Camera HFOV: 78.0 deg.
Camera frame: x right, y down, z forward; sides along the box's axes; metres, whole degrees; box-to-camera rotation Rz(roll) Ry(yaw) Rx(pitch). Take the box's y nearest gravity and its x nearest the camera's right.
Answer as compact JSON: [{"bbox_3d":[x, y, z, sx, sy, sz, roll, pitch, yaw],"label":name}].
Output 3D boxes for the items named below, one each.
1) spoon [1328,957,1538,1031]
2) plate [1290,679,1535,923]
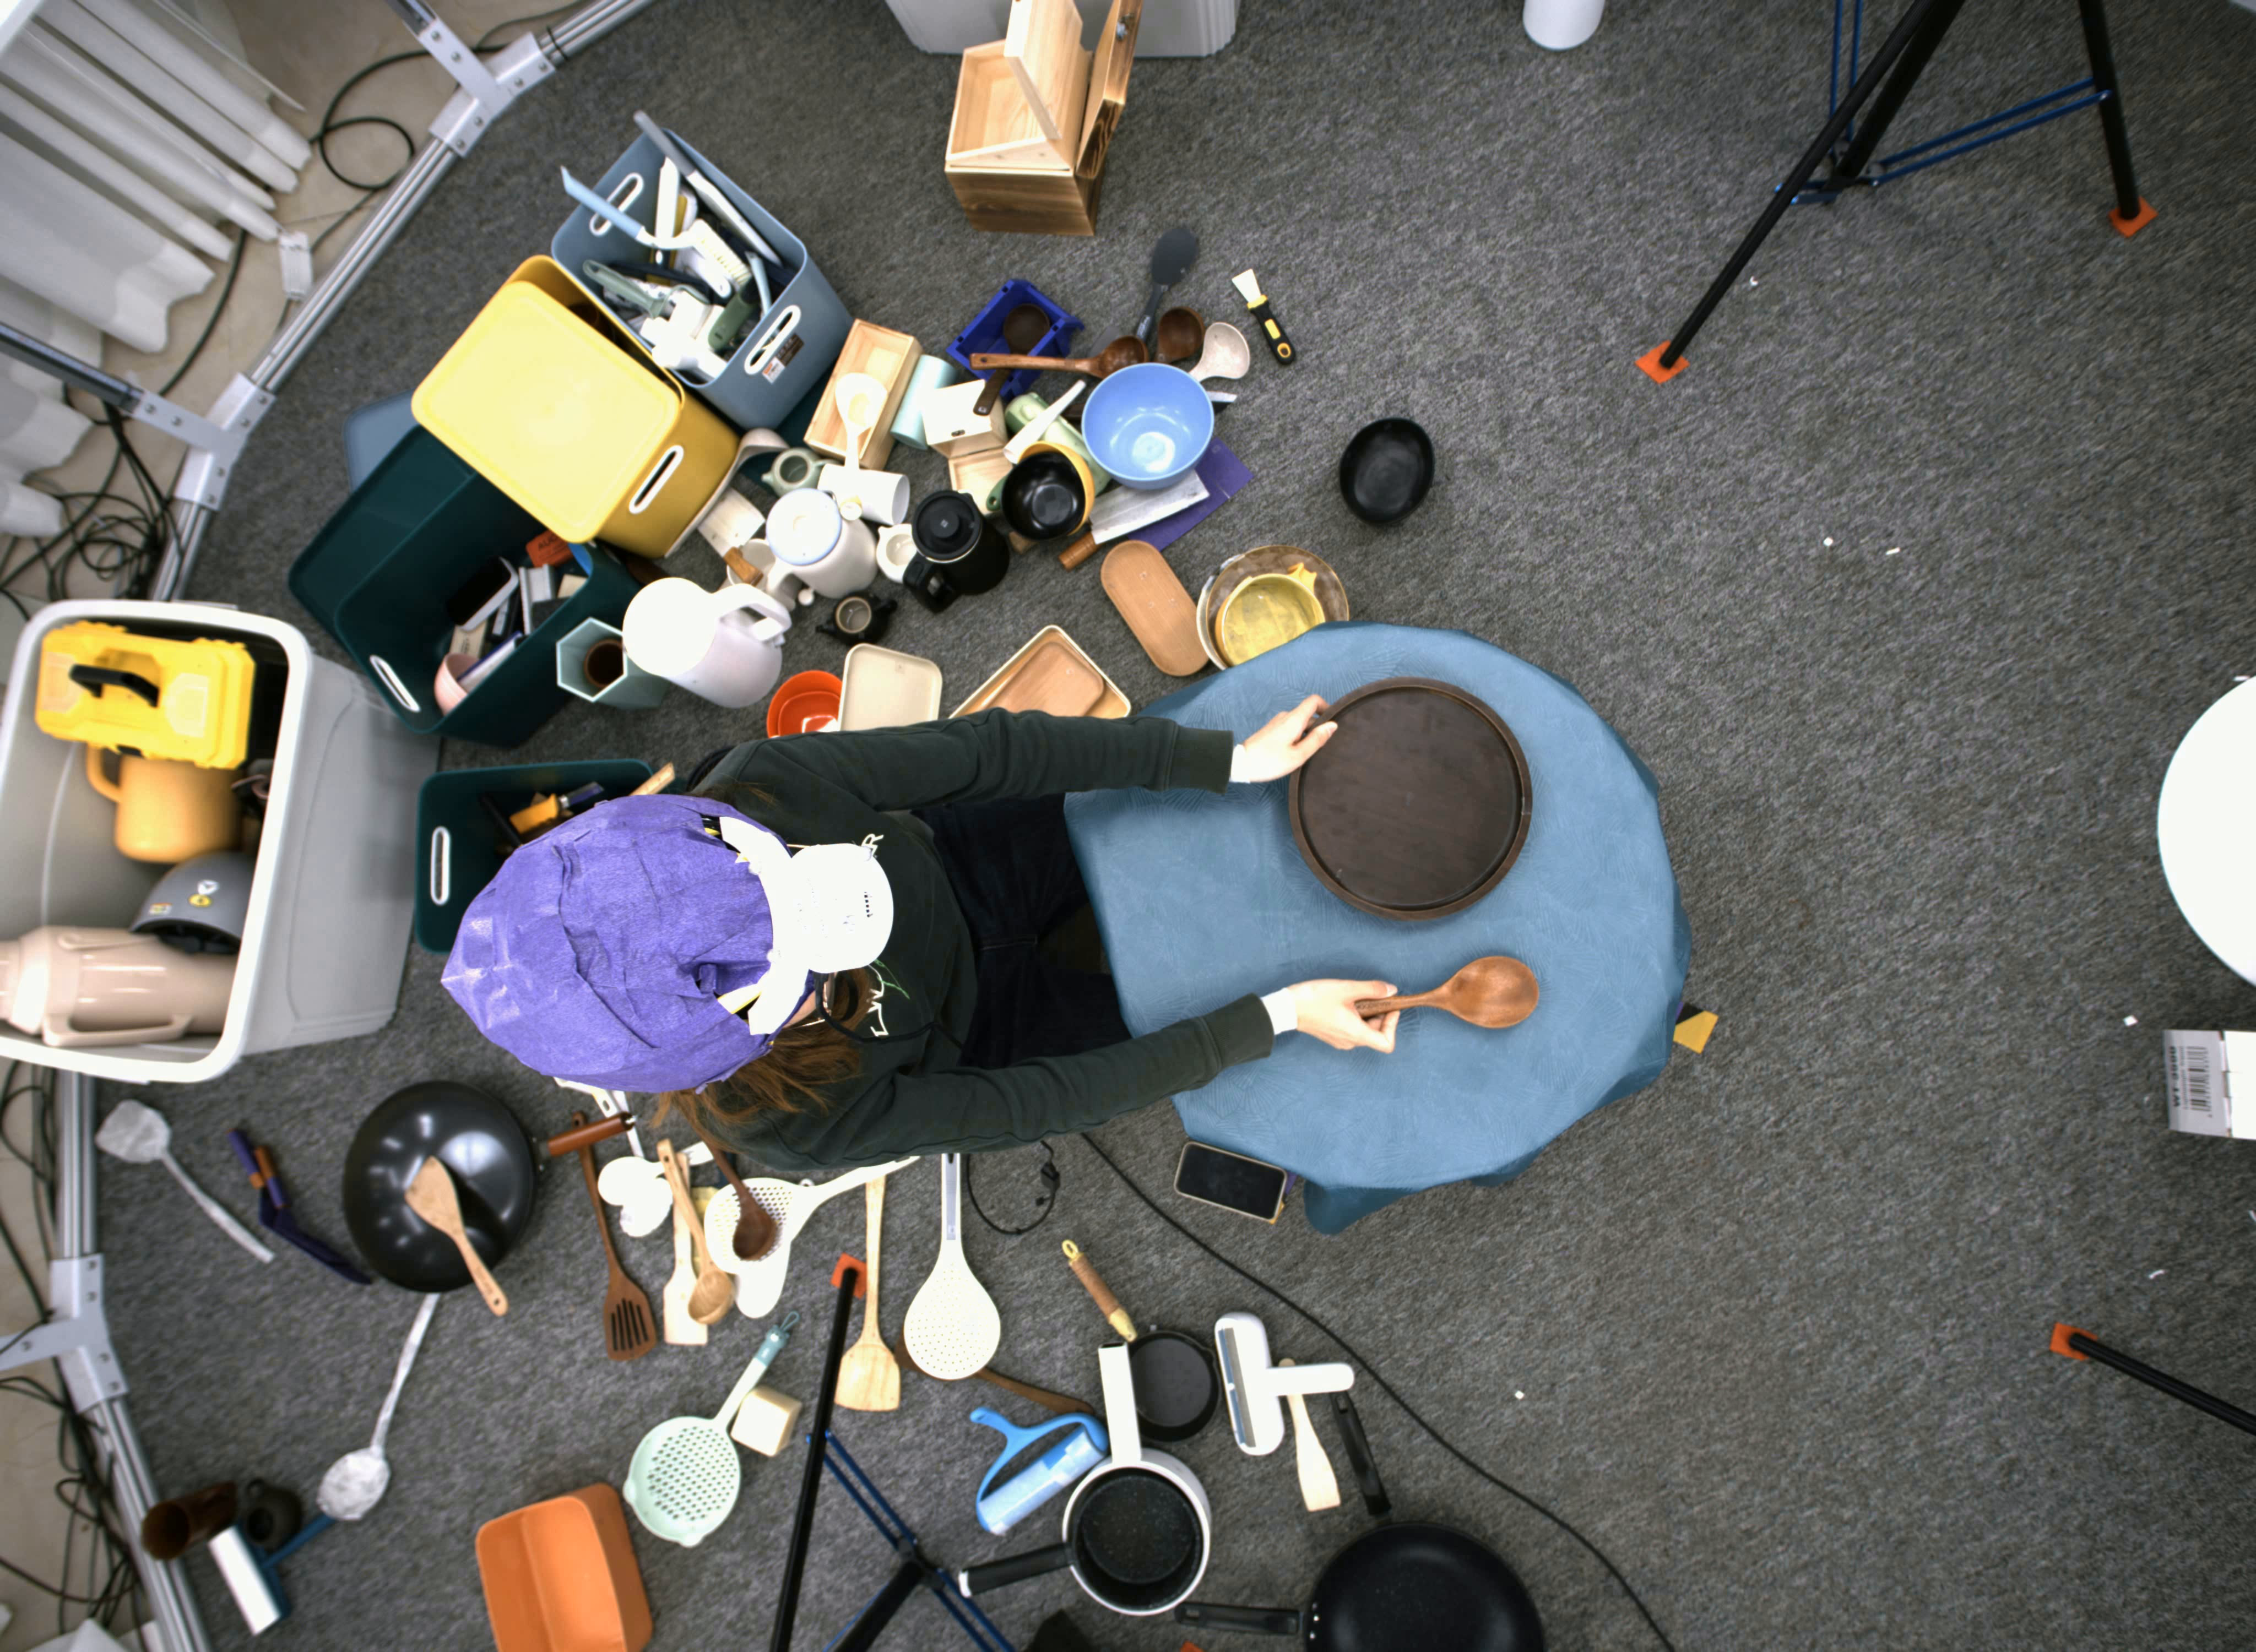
[{"bbox_3d":[0.313,0.178,1.418,0.216,0.017,0.075,-7,86,2],"label":"spoon"},{"bbox_3d":[0.293,-0.027,1.428,0.255,0.029,0.254,0,90,1],"label":"plate"}]
